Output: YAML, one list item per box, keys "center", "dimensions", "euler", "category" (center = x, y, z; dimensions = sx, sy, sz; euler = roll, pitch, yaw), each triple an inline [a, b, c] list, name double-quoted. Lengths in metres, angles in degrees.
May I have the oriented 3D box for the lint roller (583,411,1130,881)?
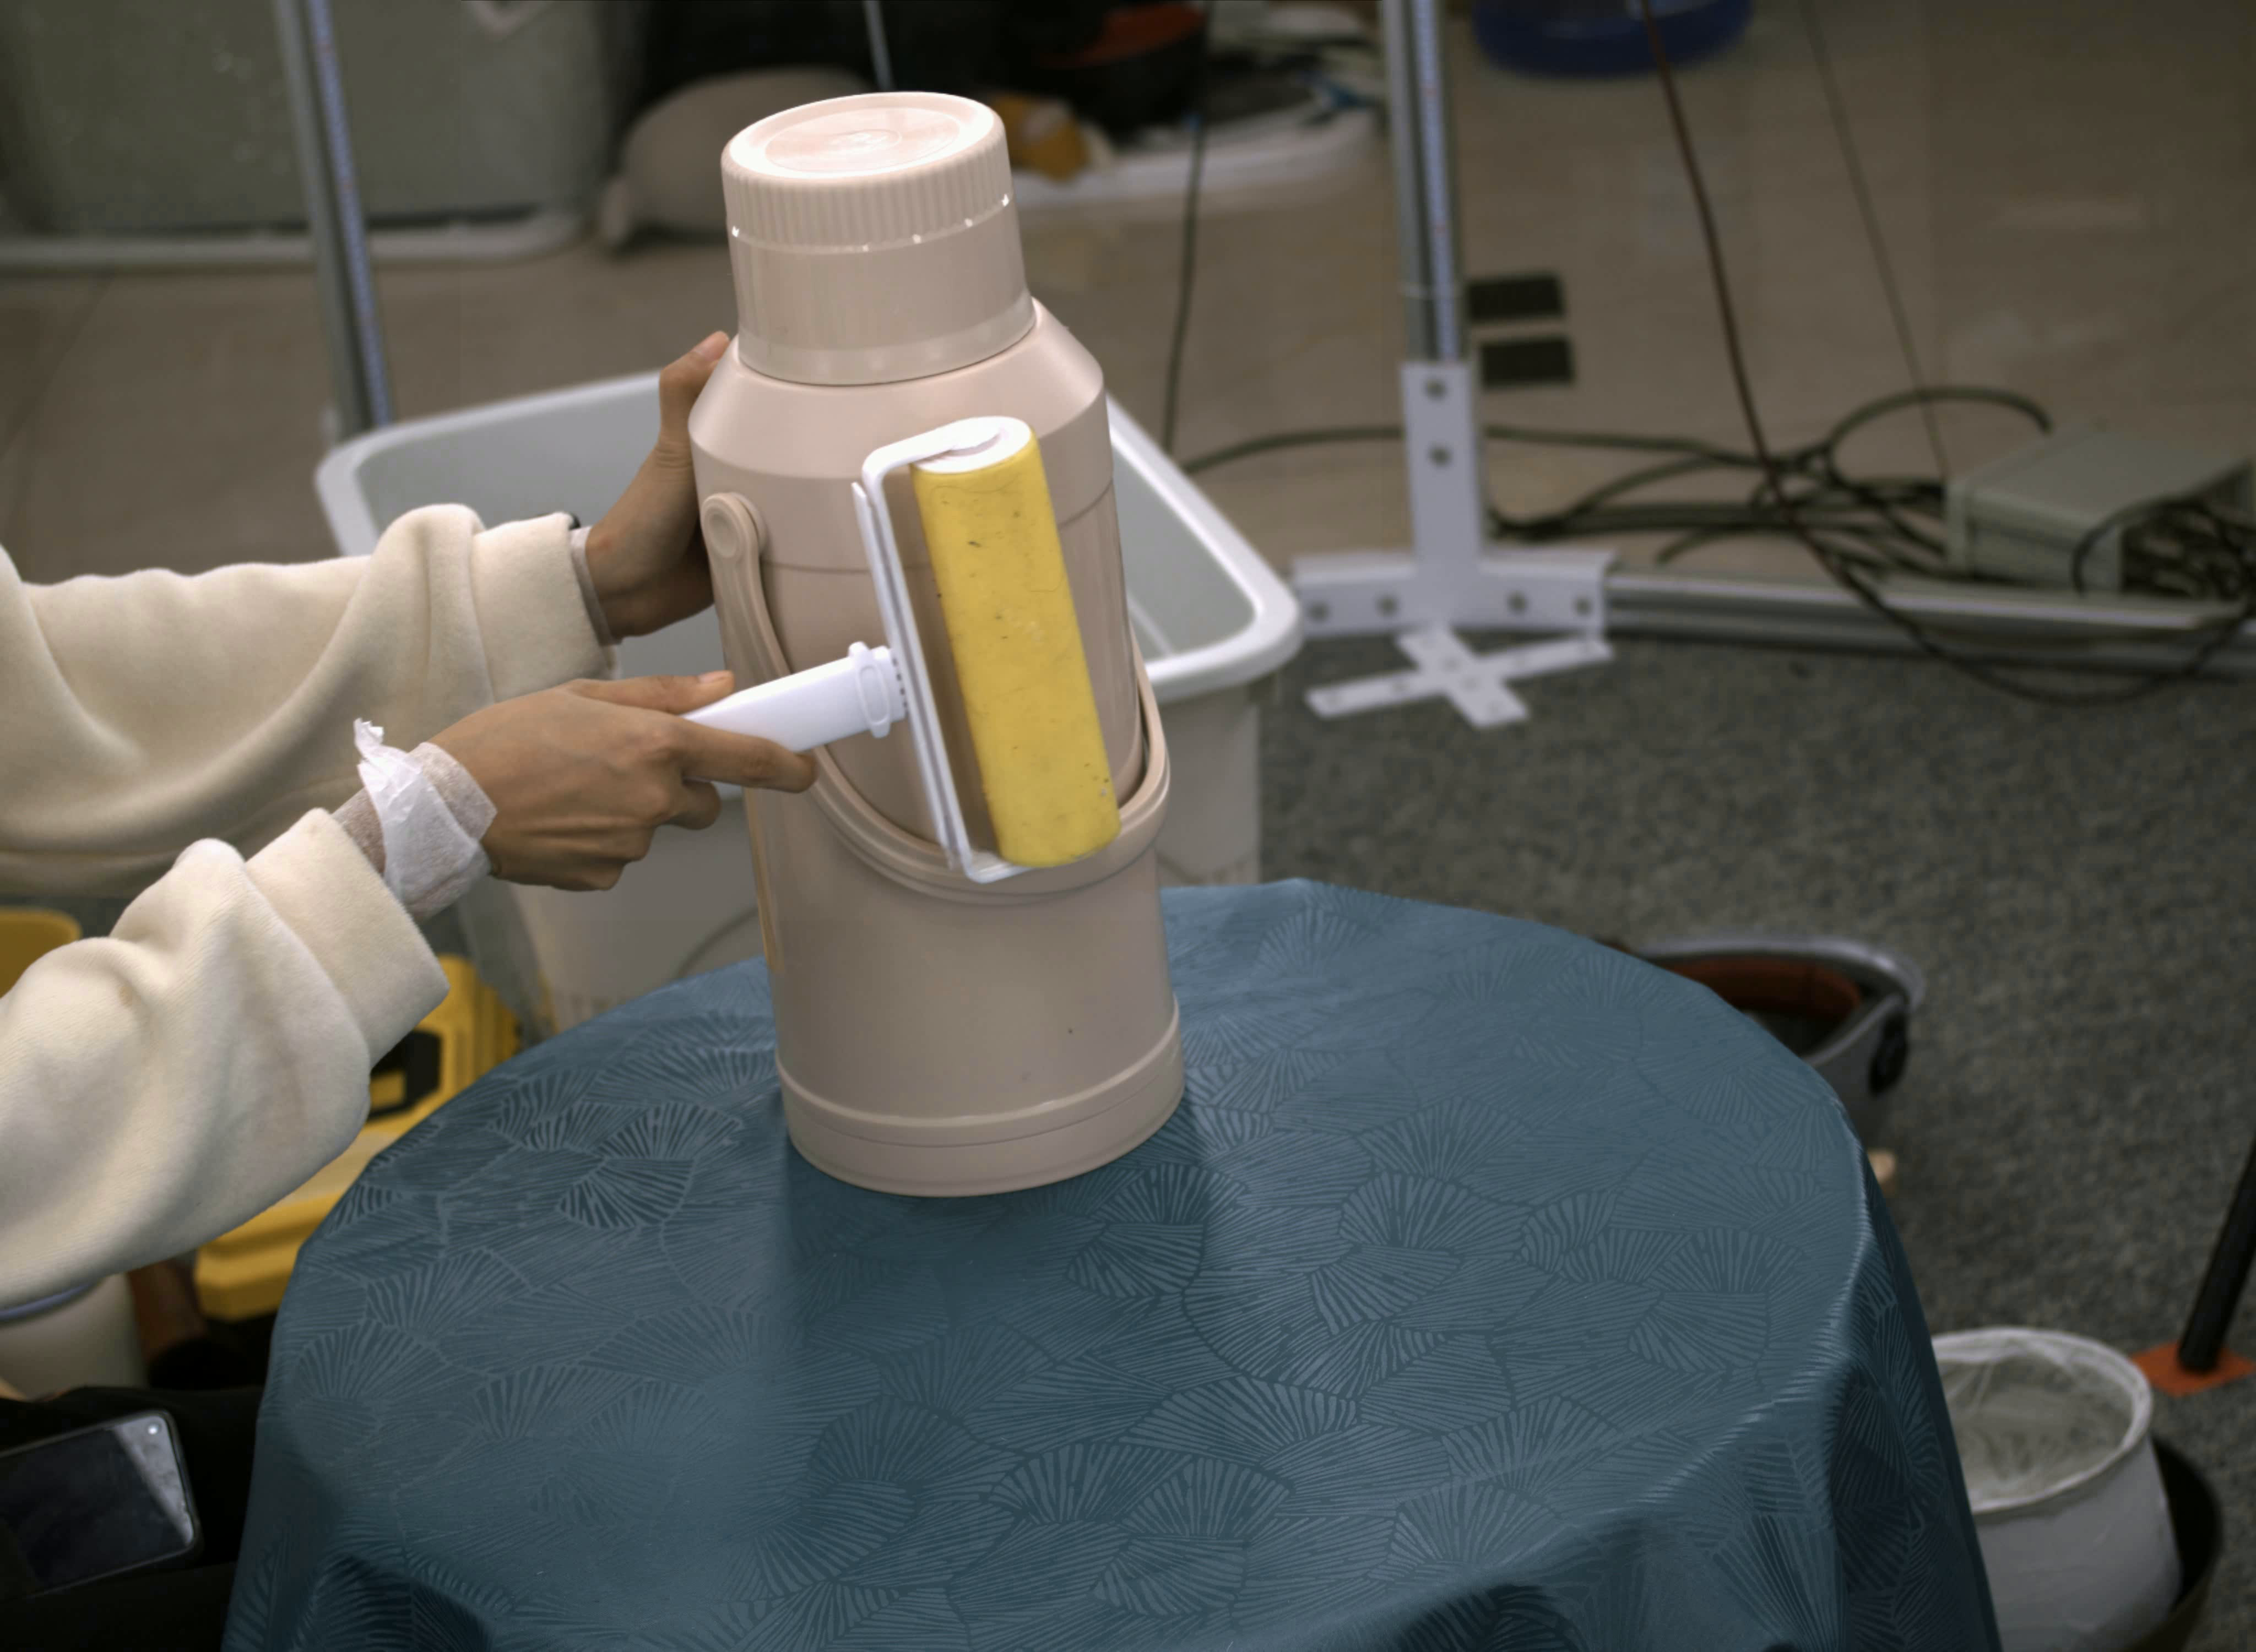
- center: [-0.101, -0.039, 2.020]
  dimensions: [0.191, 0.177, 0.051]
  euler: [-25, 30, -21]
  category: "lint roller"

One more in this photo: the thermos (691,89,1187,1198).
- center: [-0.084, -0.074, 2.149]
  dimensions: [0.174, 0.413, 0.205]
  euler: [-27, 32, -35]
  category: "thermos"
